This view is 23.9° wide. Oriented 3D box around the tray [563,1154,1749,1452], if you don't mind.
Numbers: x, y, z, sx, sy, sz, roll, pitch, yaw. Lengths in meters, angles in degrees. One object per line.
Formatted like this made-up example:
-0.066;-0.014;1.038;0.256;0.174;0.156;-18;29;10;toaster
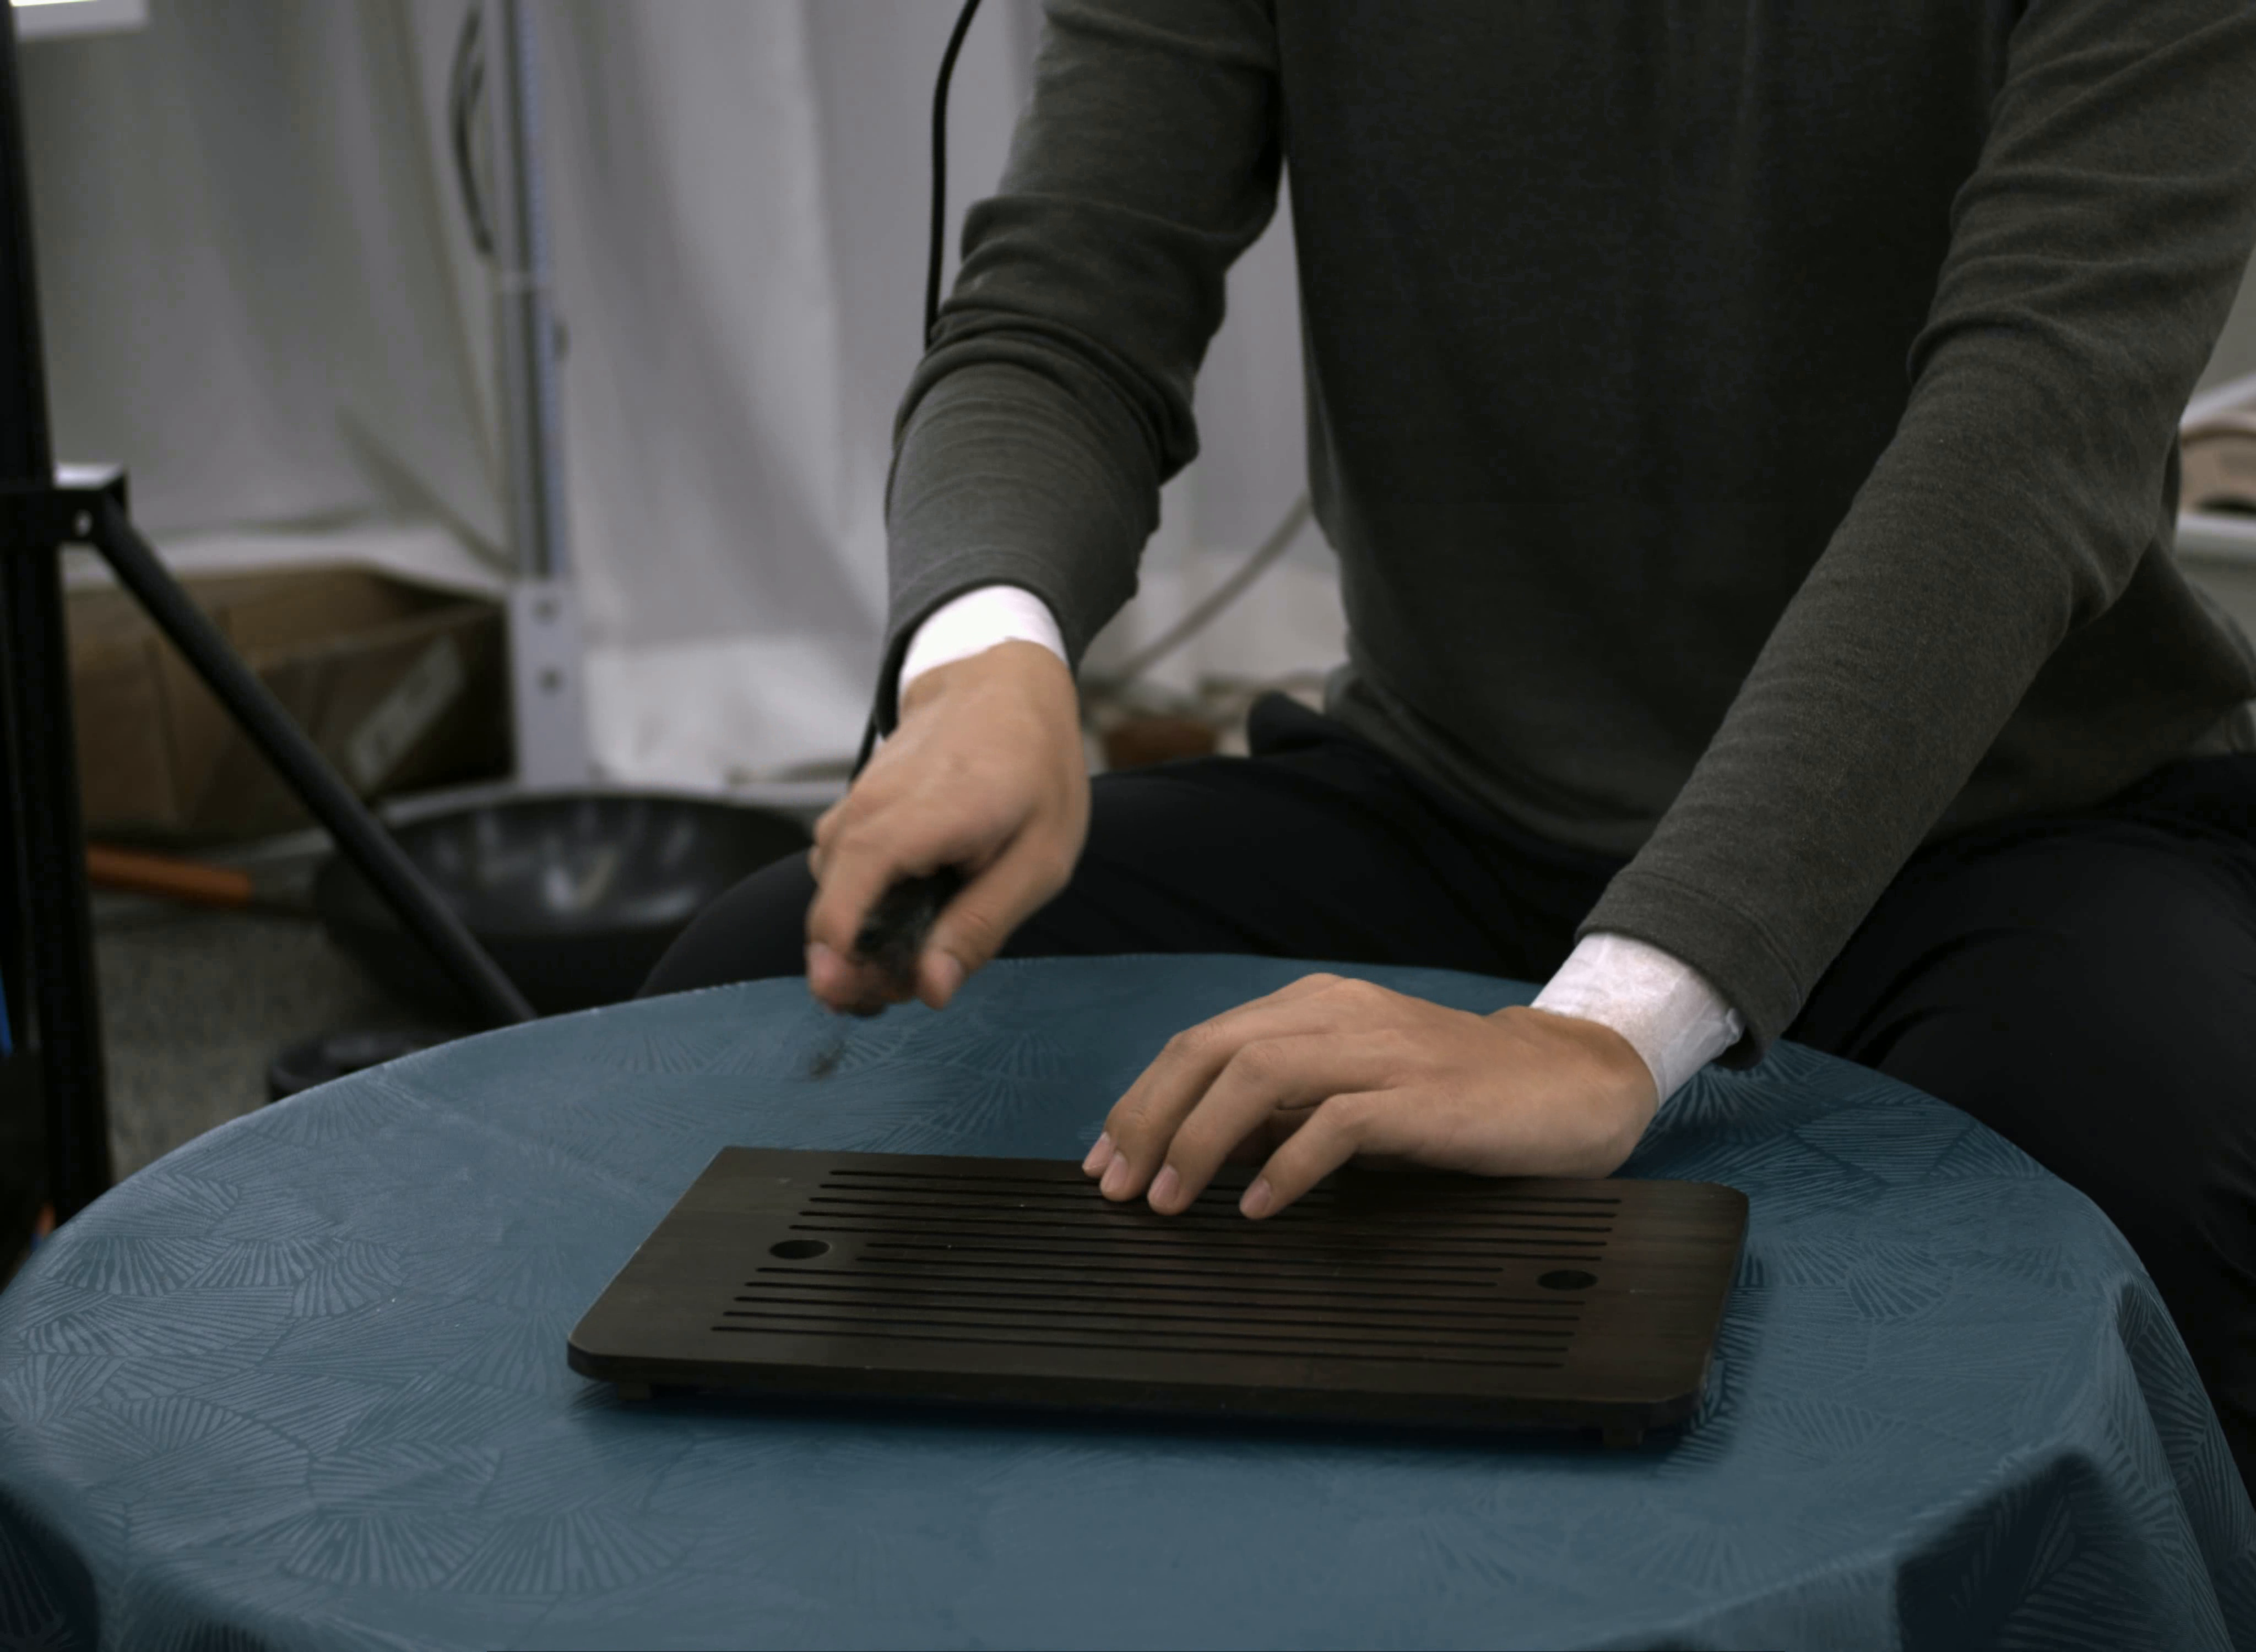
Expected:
0.012;0.129;1.453;0.308;0.018;0.169;1;16;13;tray

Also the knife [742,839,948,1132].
-0.080;0.043;1.507;0.016;0.024;0.237;5;17;9;knife
